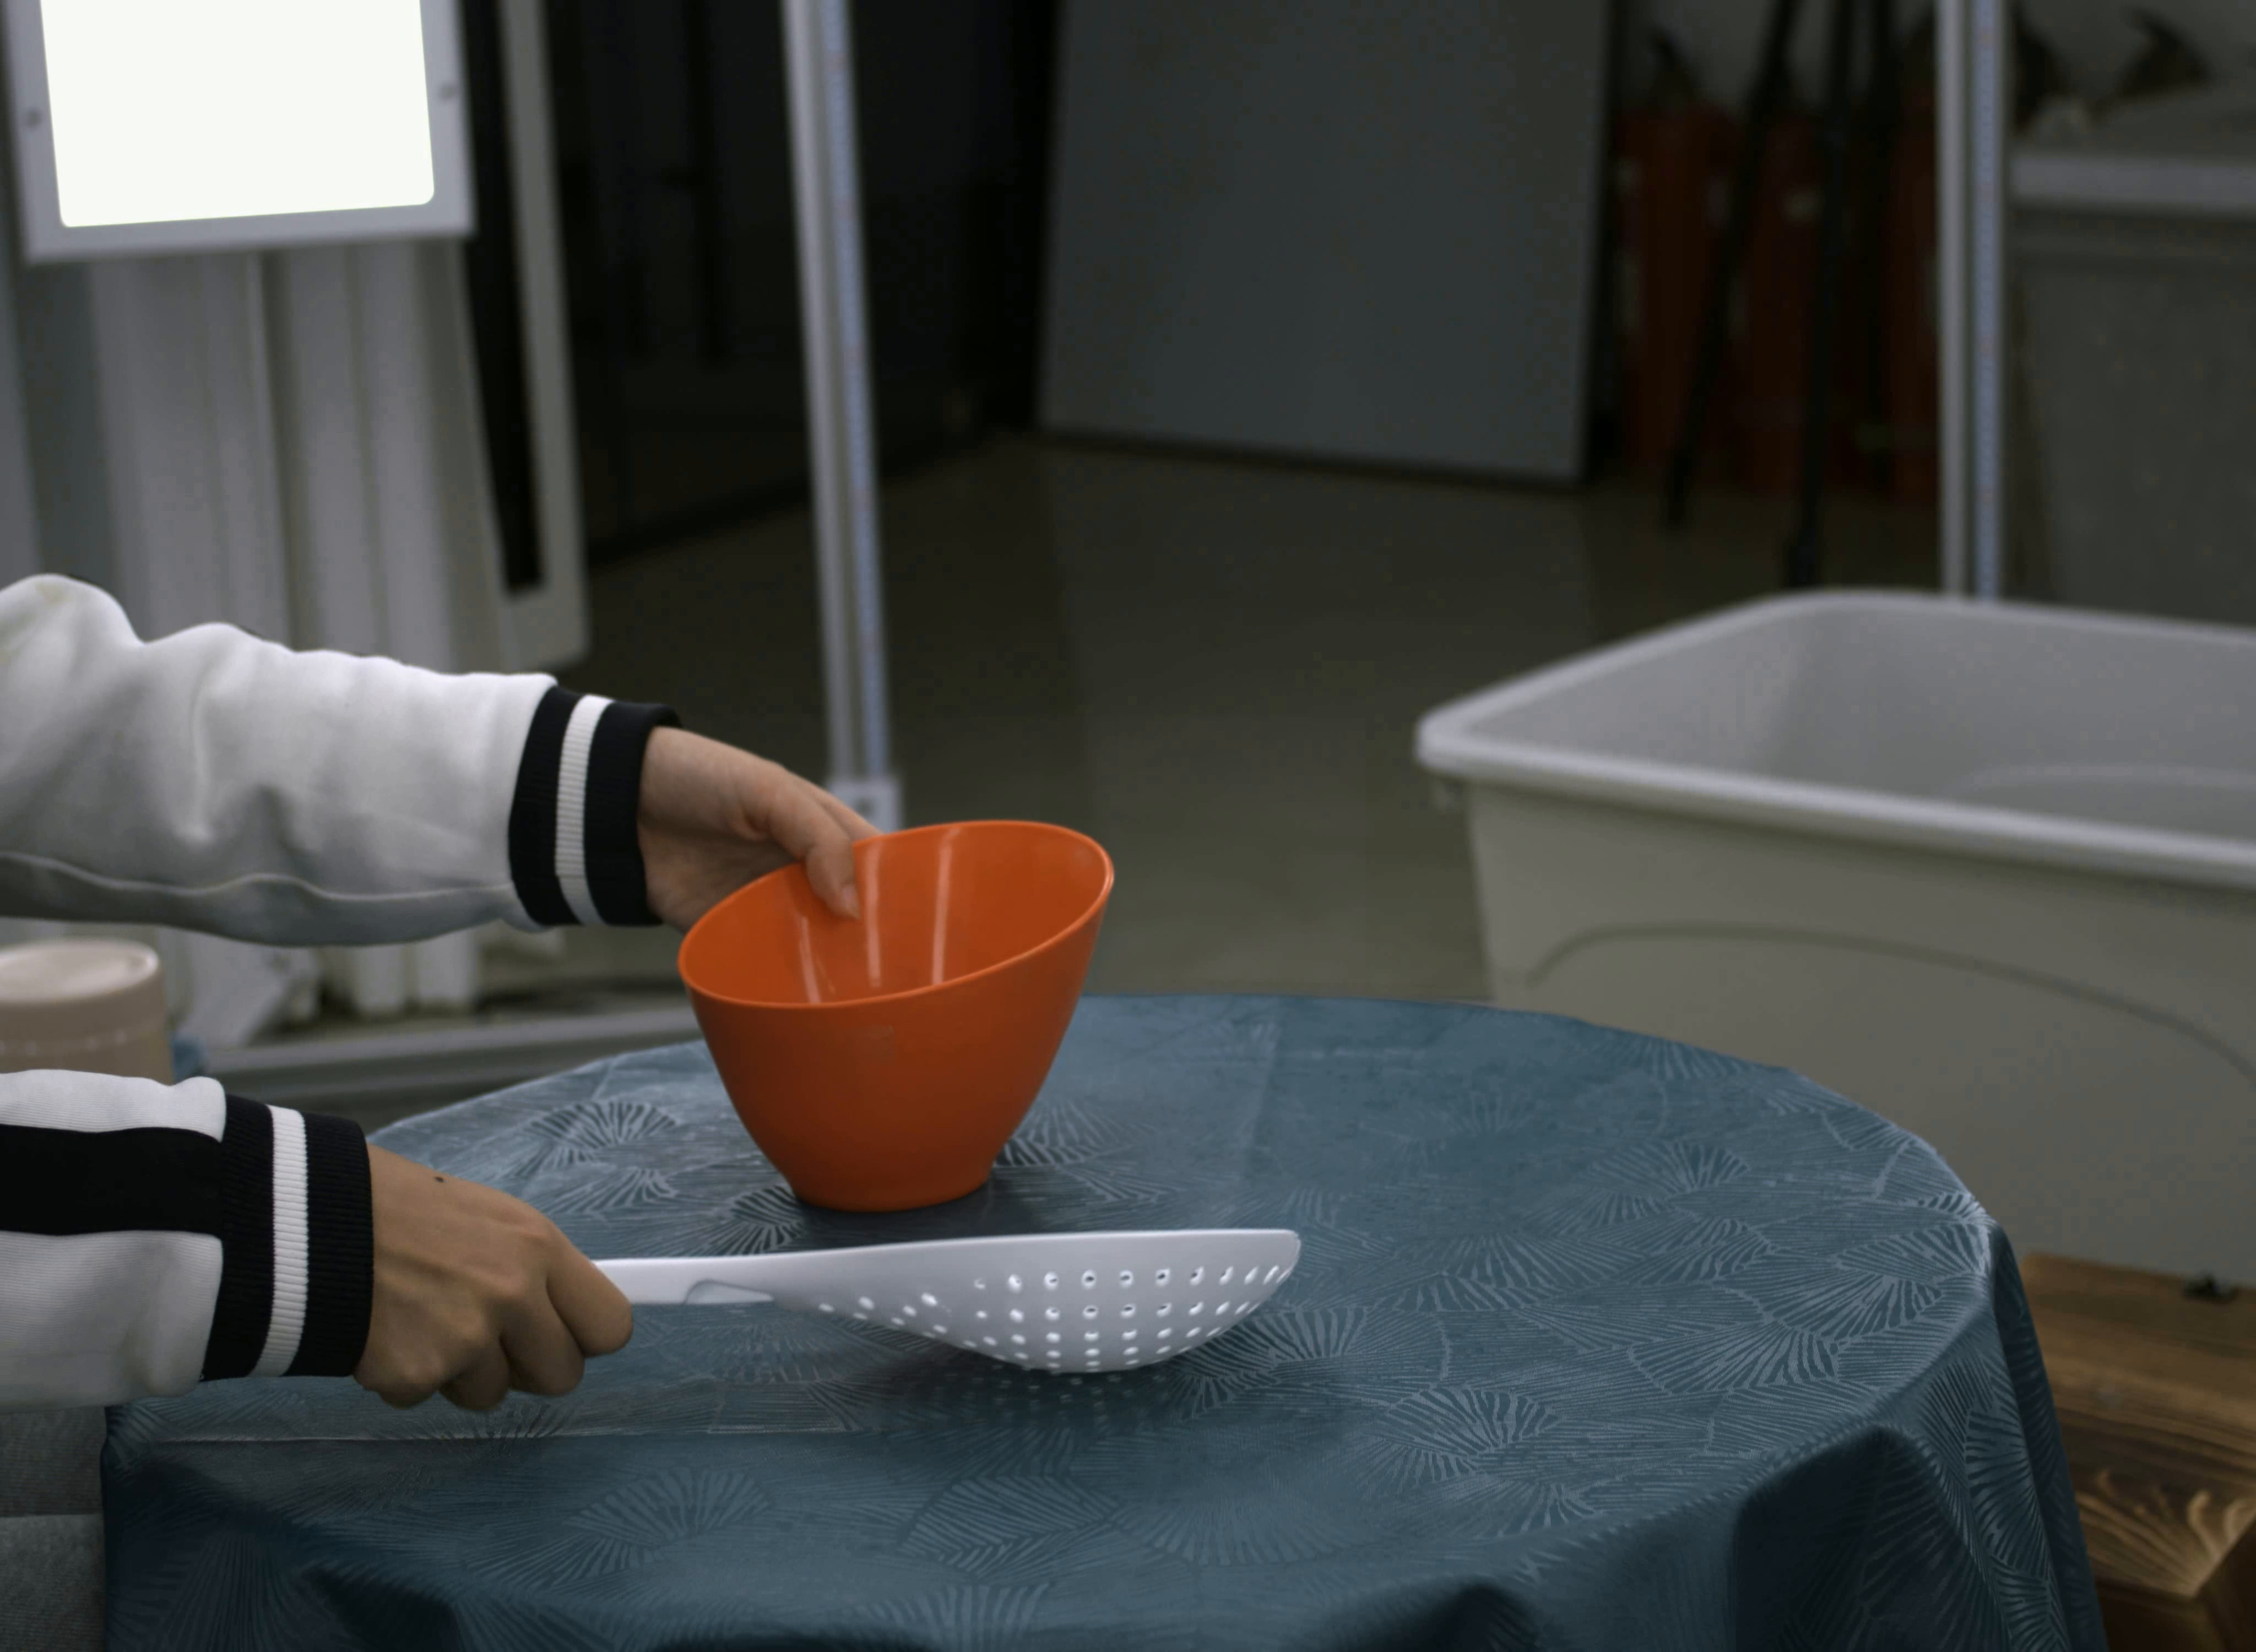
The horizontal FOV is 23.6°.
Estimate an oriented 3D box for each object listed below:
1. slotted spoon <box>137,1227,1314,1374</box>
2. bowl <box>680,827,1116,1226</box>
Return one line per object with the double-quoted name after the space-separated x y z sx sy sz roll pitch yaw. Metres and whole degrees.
-0.118 0.134 1.595 0.345 0.046 0.136 2 -6 3 "slotted spoon"
-0.073 0.070 1.791 0.146 0.106 0.148 -4 16 0 "bowl"
